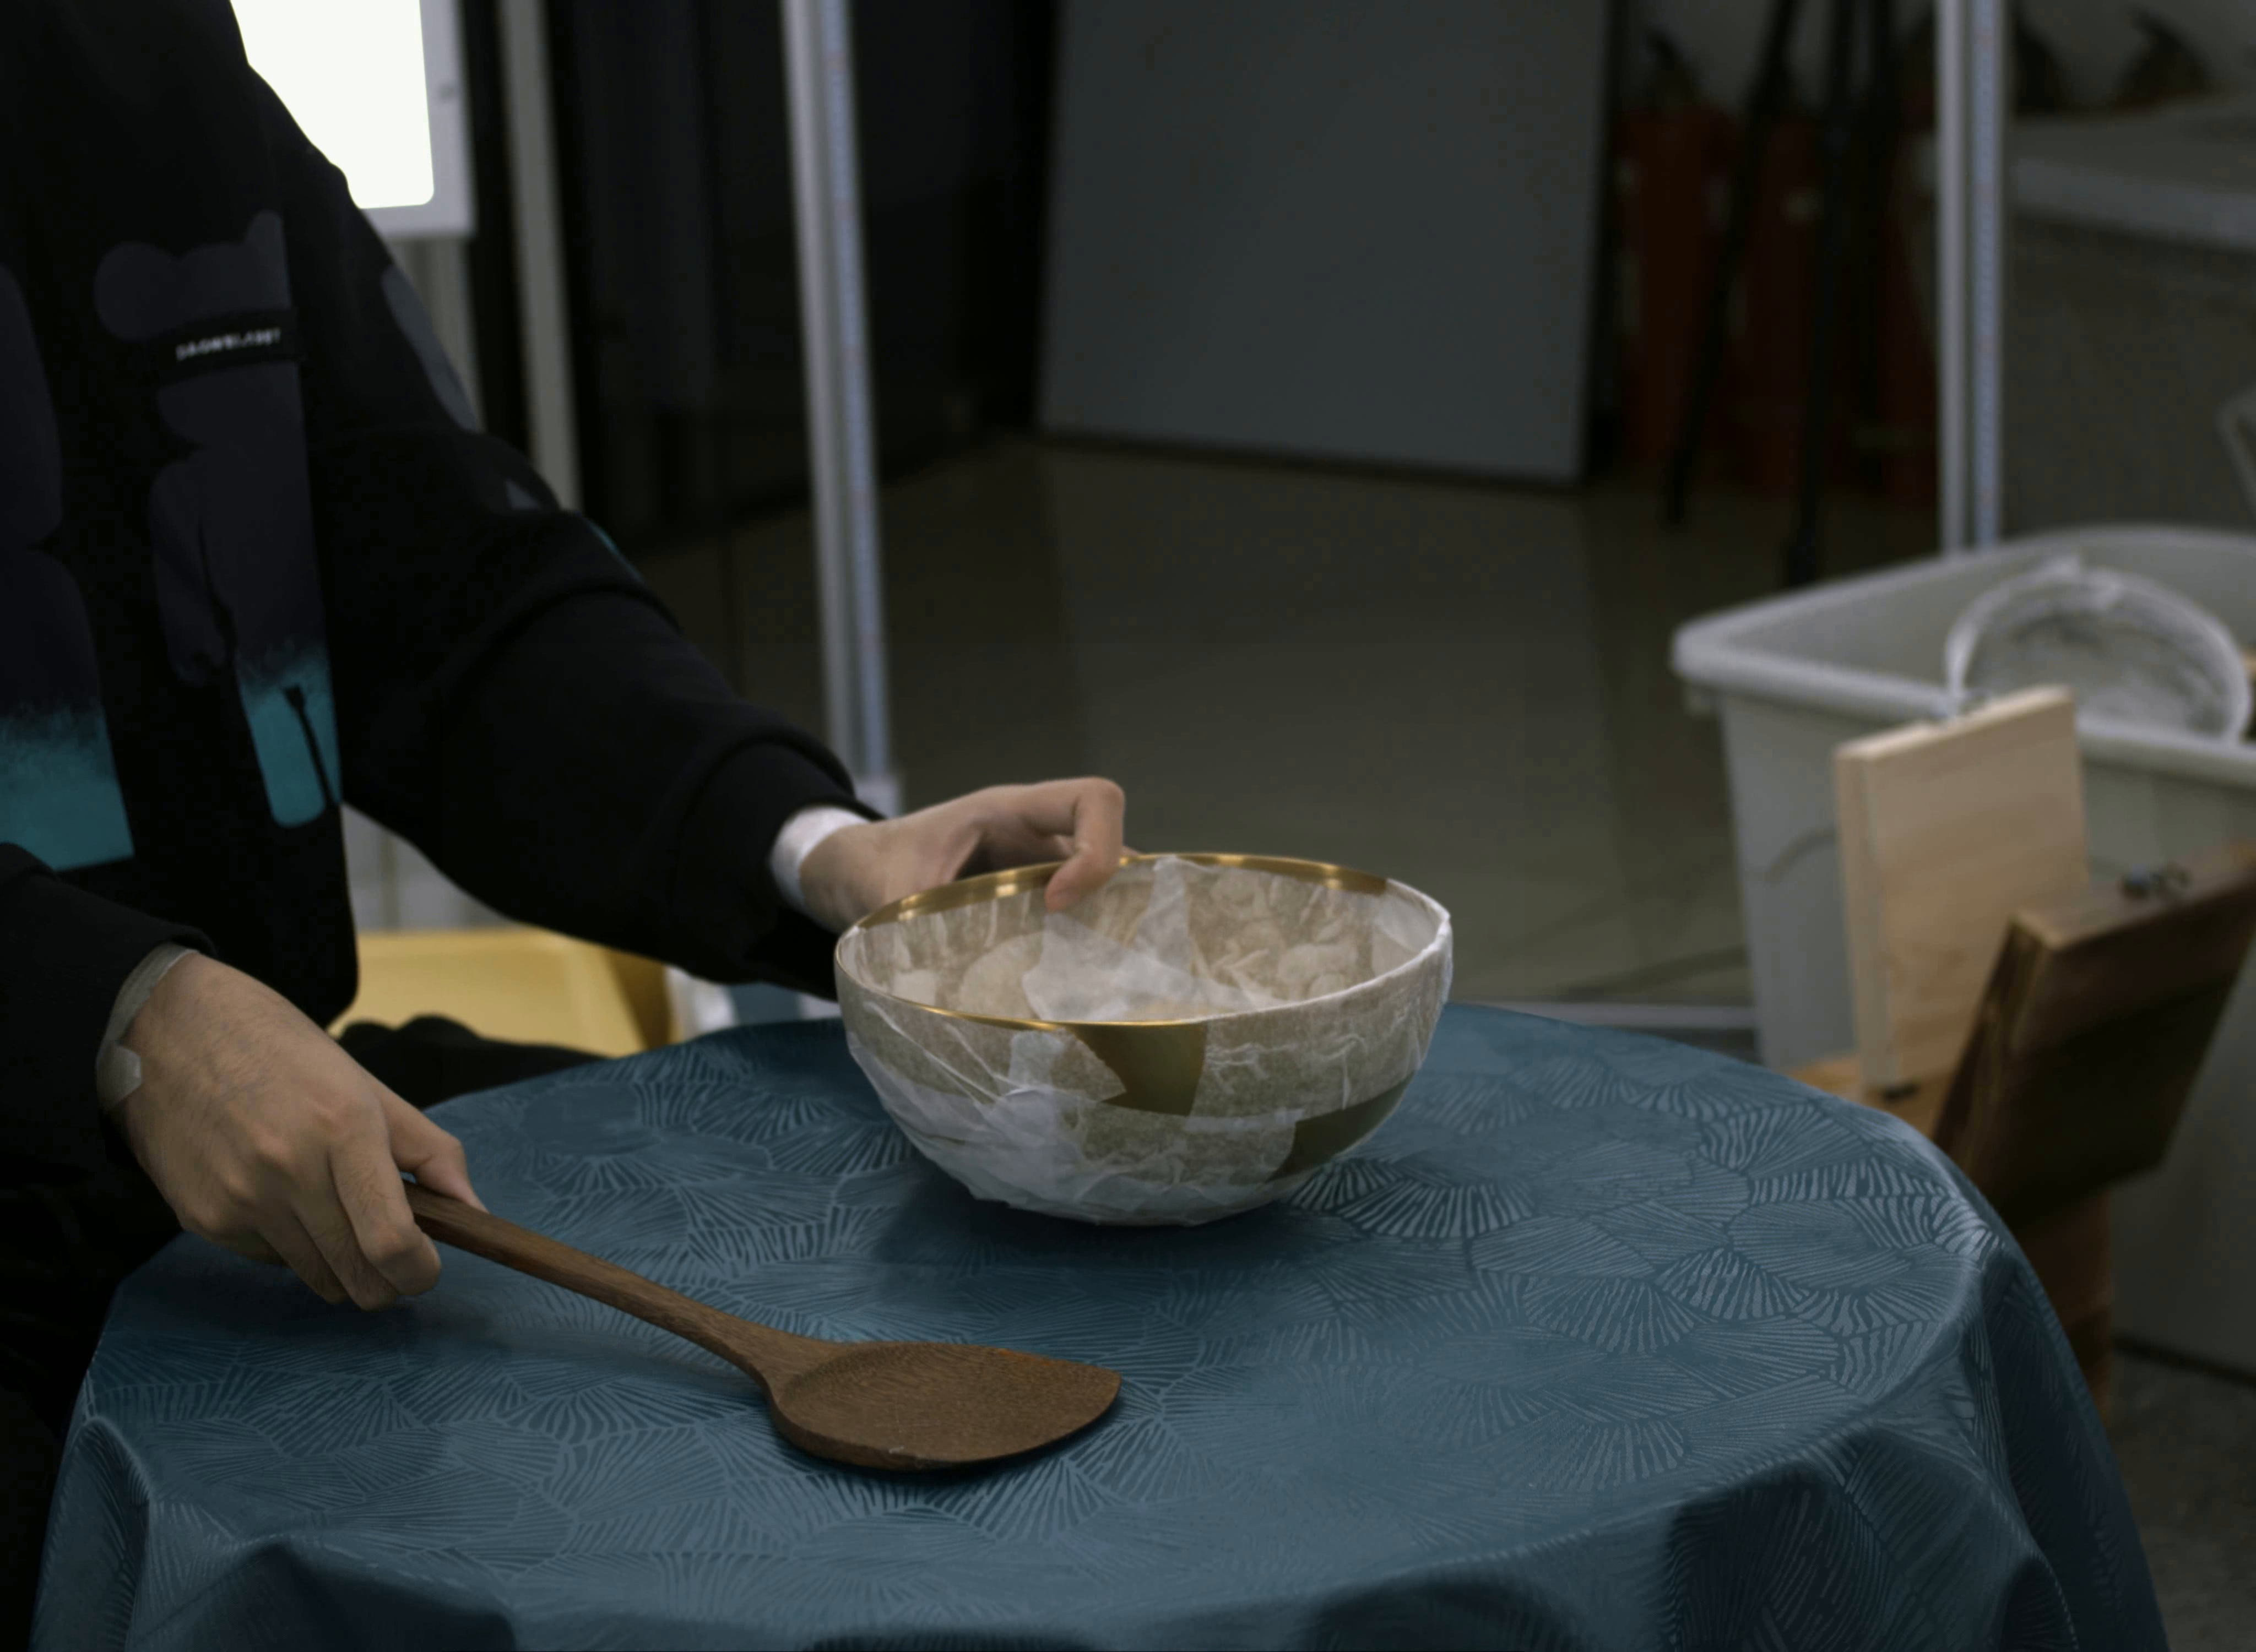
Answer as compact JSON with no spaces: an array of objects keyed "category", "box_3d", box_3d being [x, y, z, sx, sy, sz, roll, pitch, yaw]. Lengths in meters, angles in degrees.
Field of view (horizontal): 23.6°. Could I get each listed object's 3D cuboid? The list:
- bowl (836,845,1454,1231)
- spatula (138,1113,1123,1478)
[{"category":"bowl","box_3d":[0.005,0.076,1.756,0.212,0.095,0.215,-5,14,0]},{"category":"spatula","box_3d":[-0.169,0.138,1.655,0.389,0.016,0.094,16,21,36]}]
